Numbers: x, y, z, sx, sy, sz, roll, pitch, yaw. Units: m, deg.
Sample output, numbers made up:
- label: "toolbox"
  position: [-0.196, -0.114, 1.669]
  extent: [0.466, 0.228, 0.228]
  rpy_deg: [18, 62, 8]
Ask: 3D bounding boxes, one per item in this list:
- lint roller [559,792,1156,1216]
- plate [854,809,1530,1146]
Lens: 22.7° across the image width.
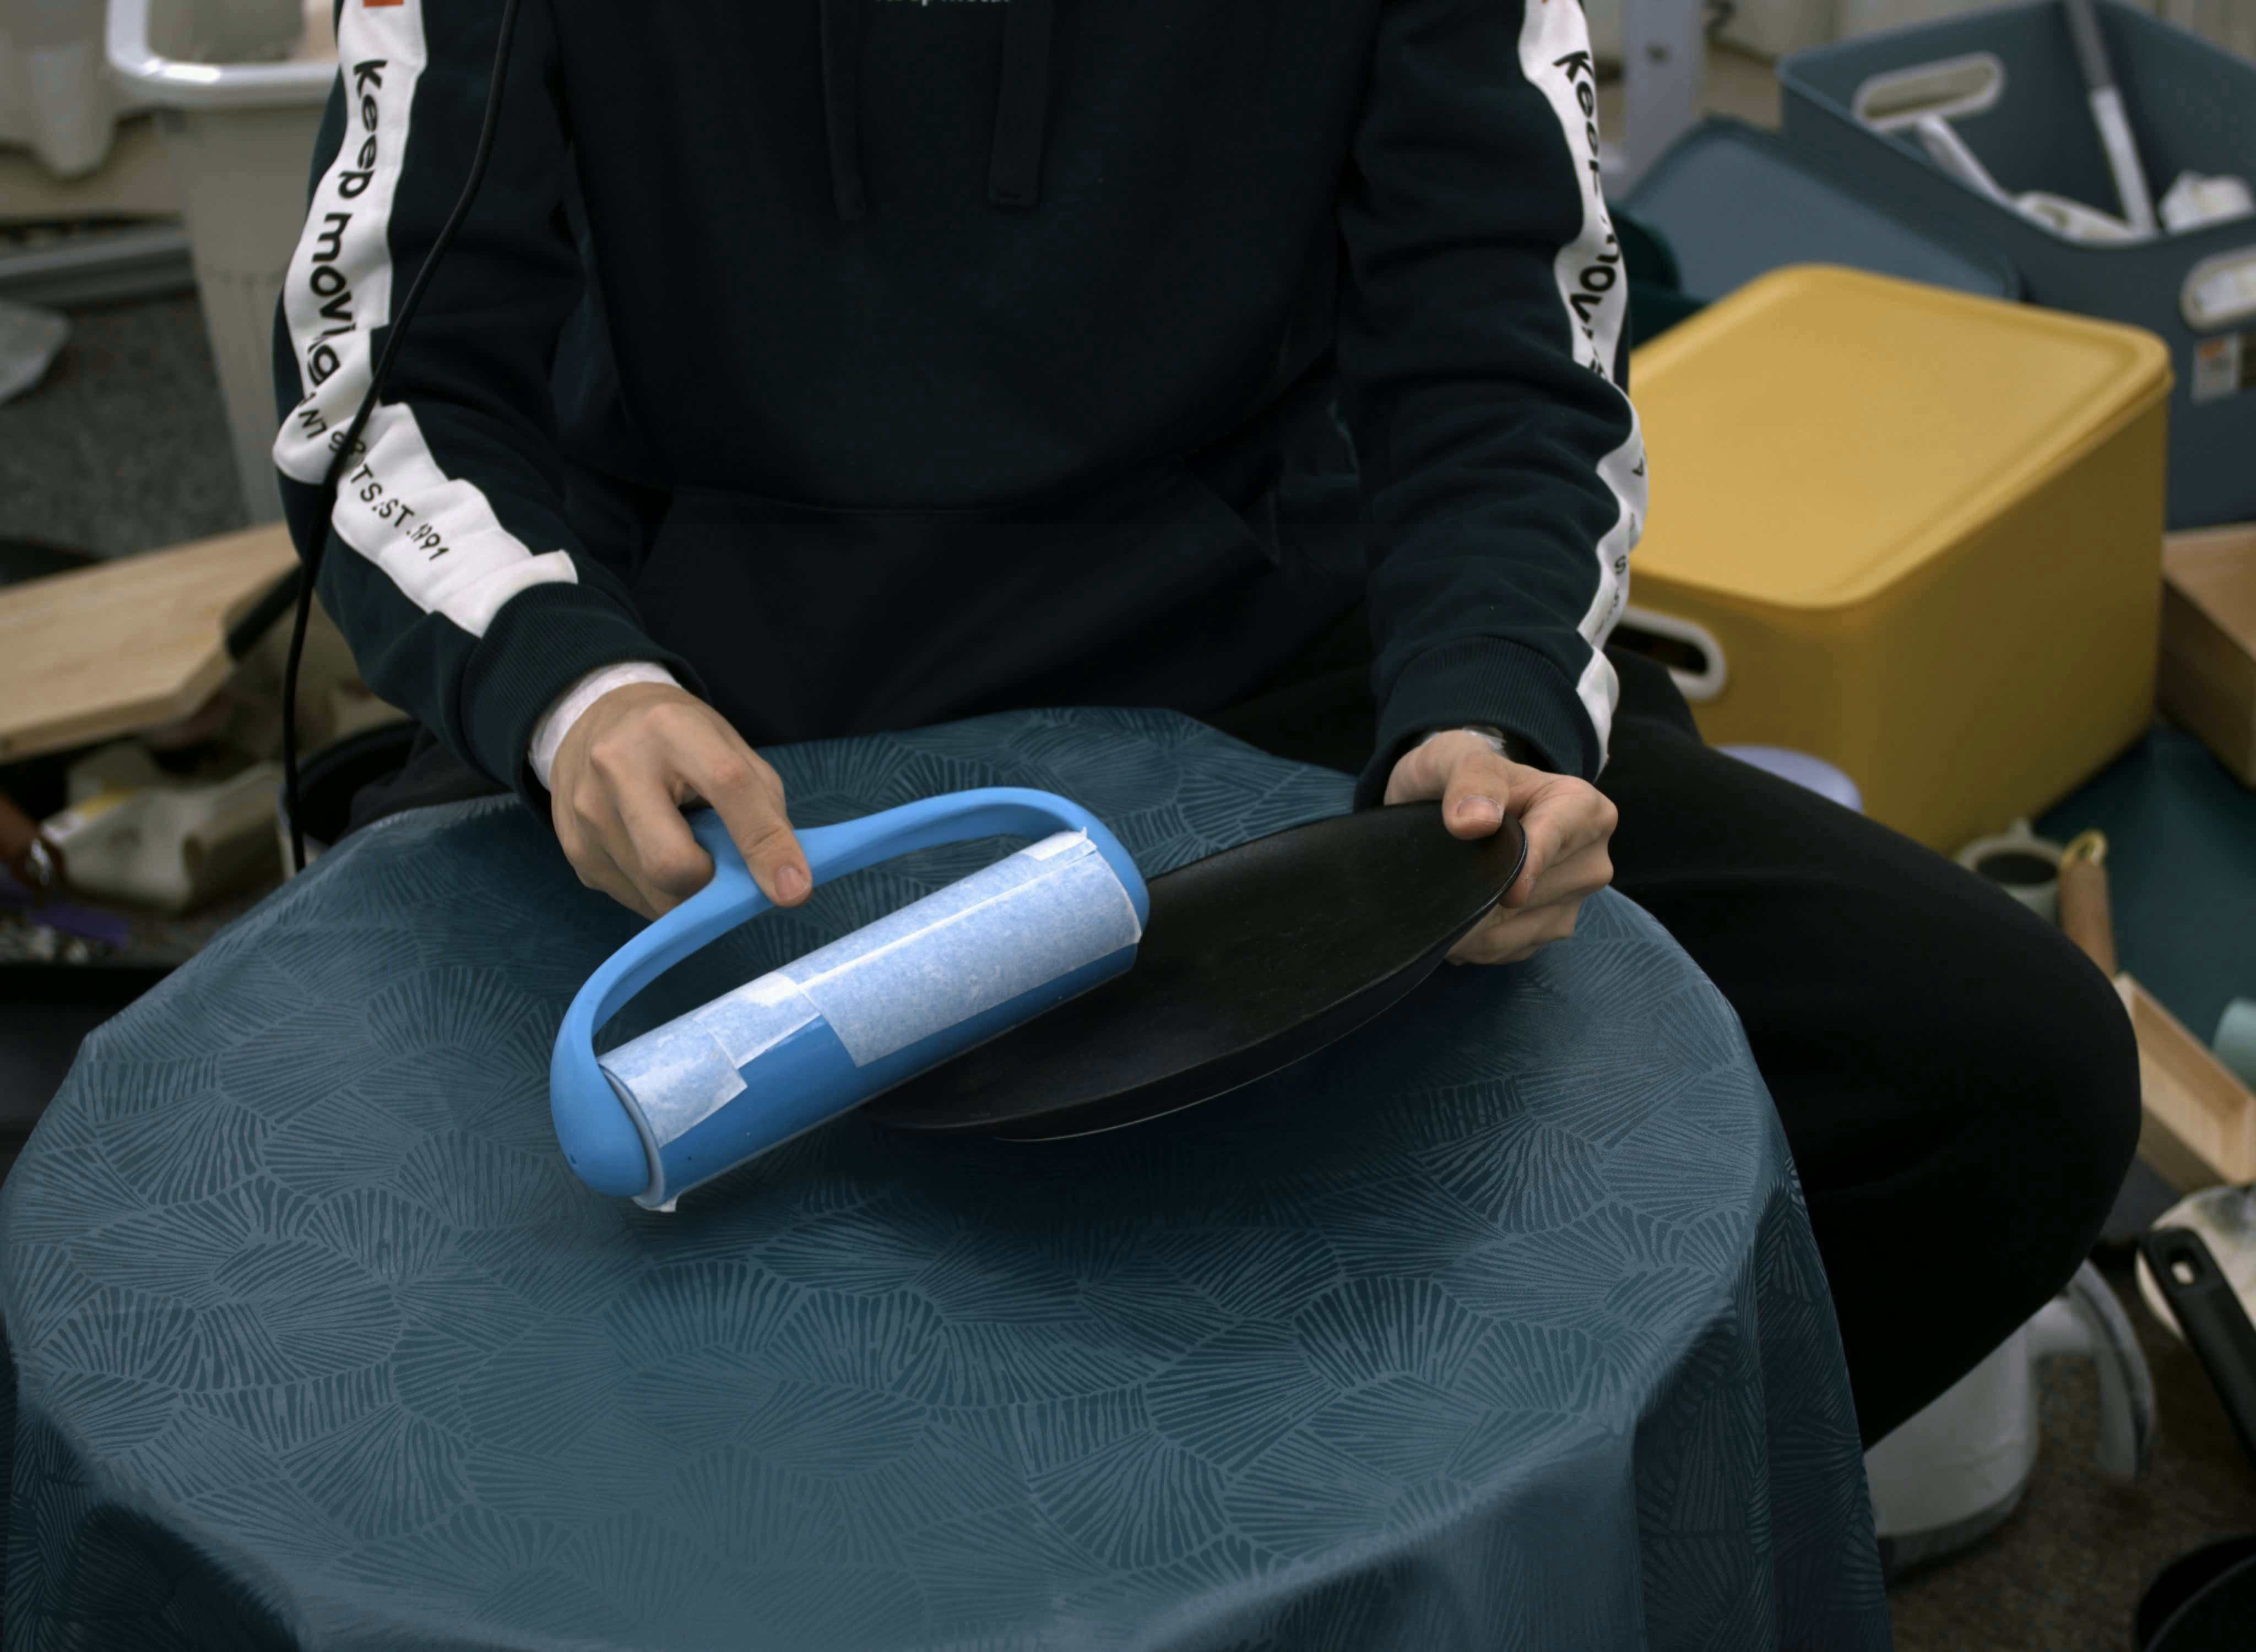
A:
- label: "lint roller"
  position: [-0.123, 0.037, 1.913]
  extent: [0.231, 0.067, 0.181]
  rpy_deg: [-29, 44, -28]
- label: "plate"
  position: [0.024, 0.055, 1.888]
  extent: [0.243, 0.023, 0.246]
  rpy_deg: [-21, 14, 5]
